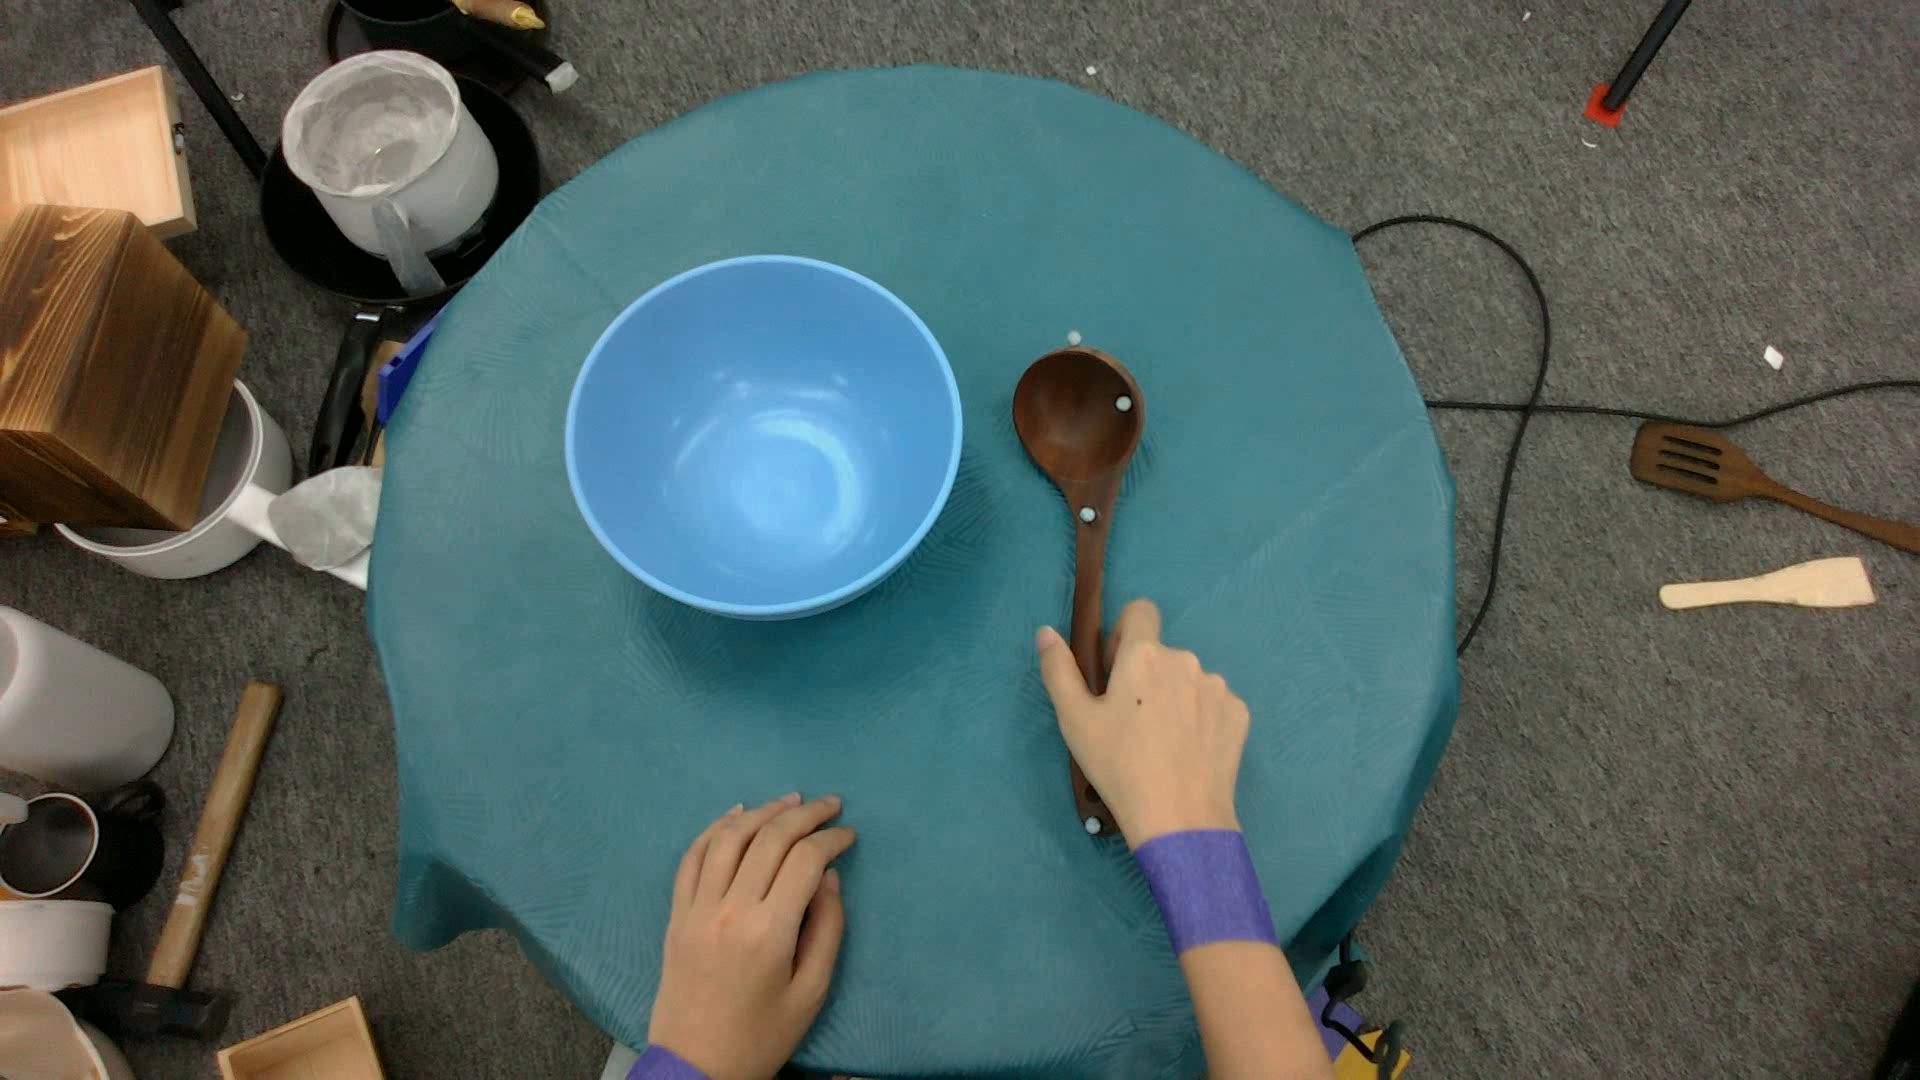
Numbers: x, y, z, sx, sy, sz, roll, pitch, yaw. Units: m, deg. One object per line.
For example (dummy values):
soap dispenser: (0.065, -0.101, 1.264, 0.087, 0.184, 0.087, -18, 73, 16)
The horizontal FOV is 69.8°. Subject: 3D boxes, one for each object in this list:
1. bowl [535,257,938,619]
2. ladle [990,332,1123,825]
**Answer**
bowl: (-0.114, -0.040, 0.720, 0.196, 0.095, 0.197, 3, 66, -7)
ladle: (0.051, 0.015, 0.723, 0.076, 0.065, 0.261, -11, 66, 30)
